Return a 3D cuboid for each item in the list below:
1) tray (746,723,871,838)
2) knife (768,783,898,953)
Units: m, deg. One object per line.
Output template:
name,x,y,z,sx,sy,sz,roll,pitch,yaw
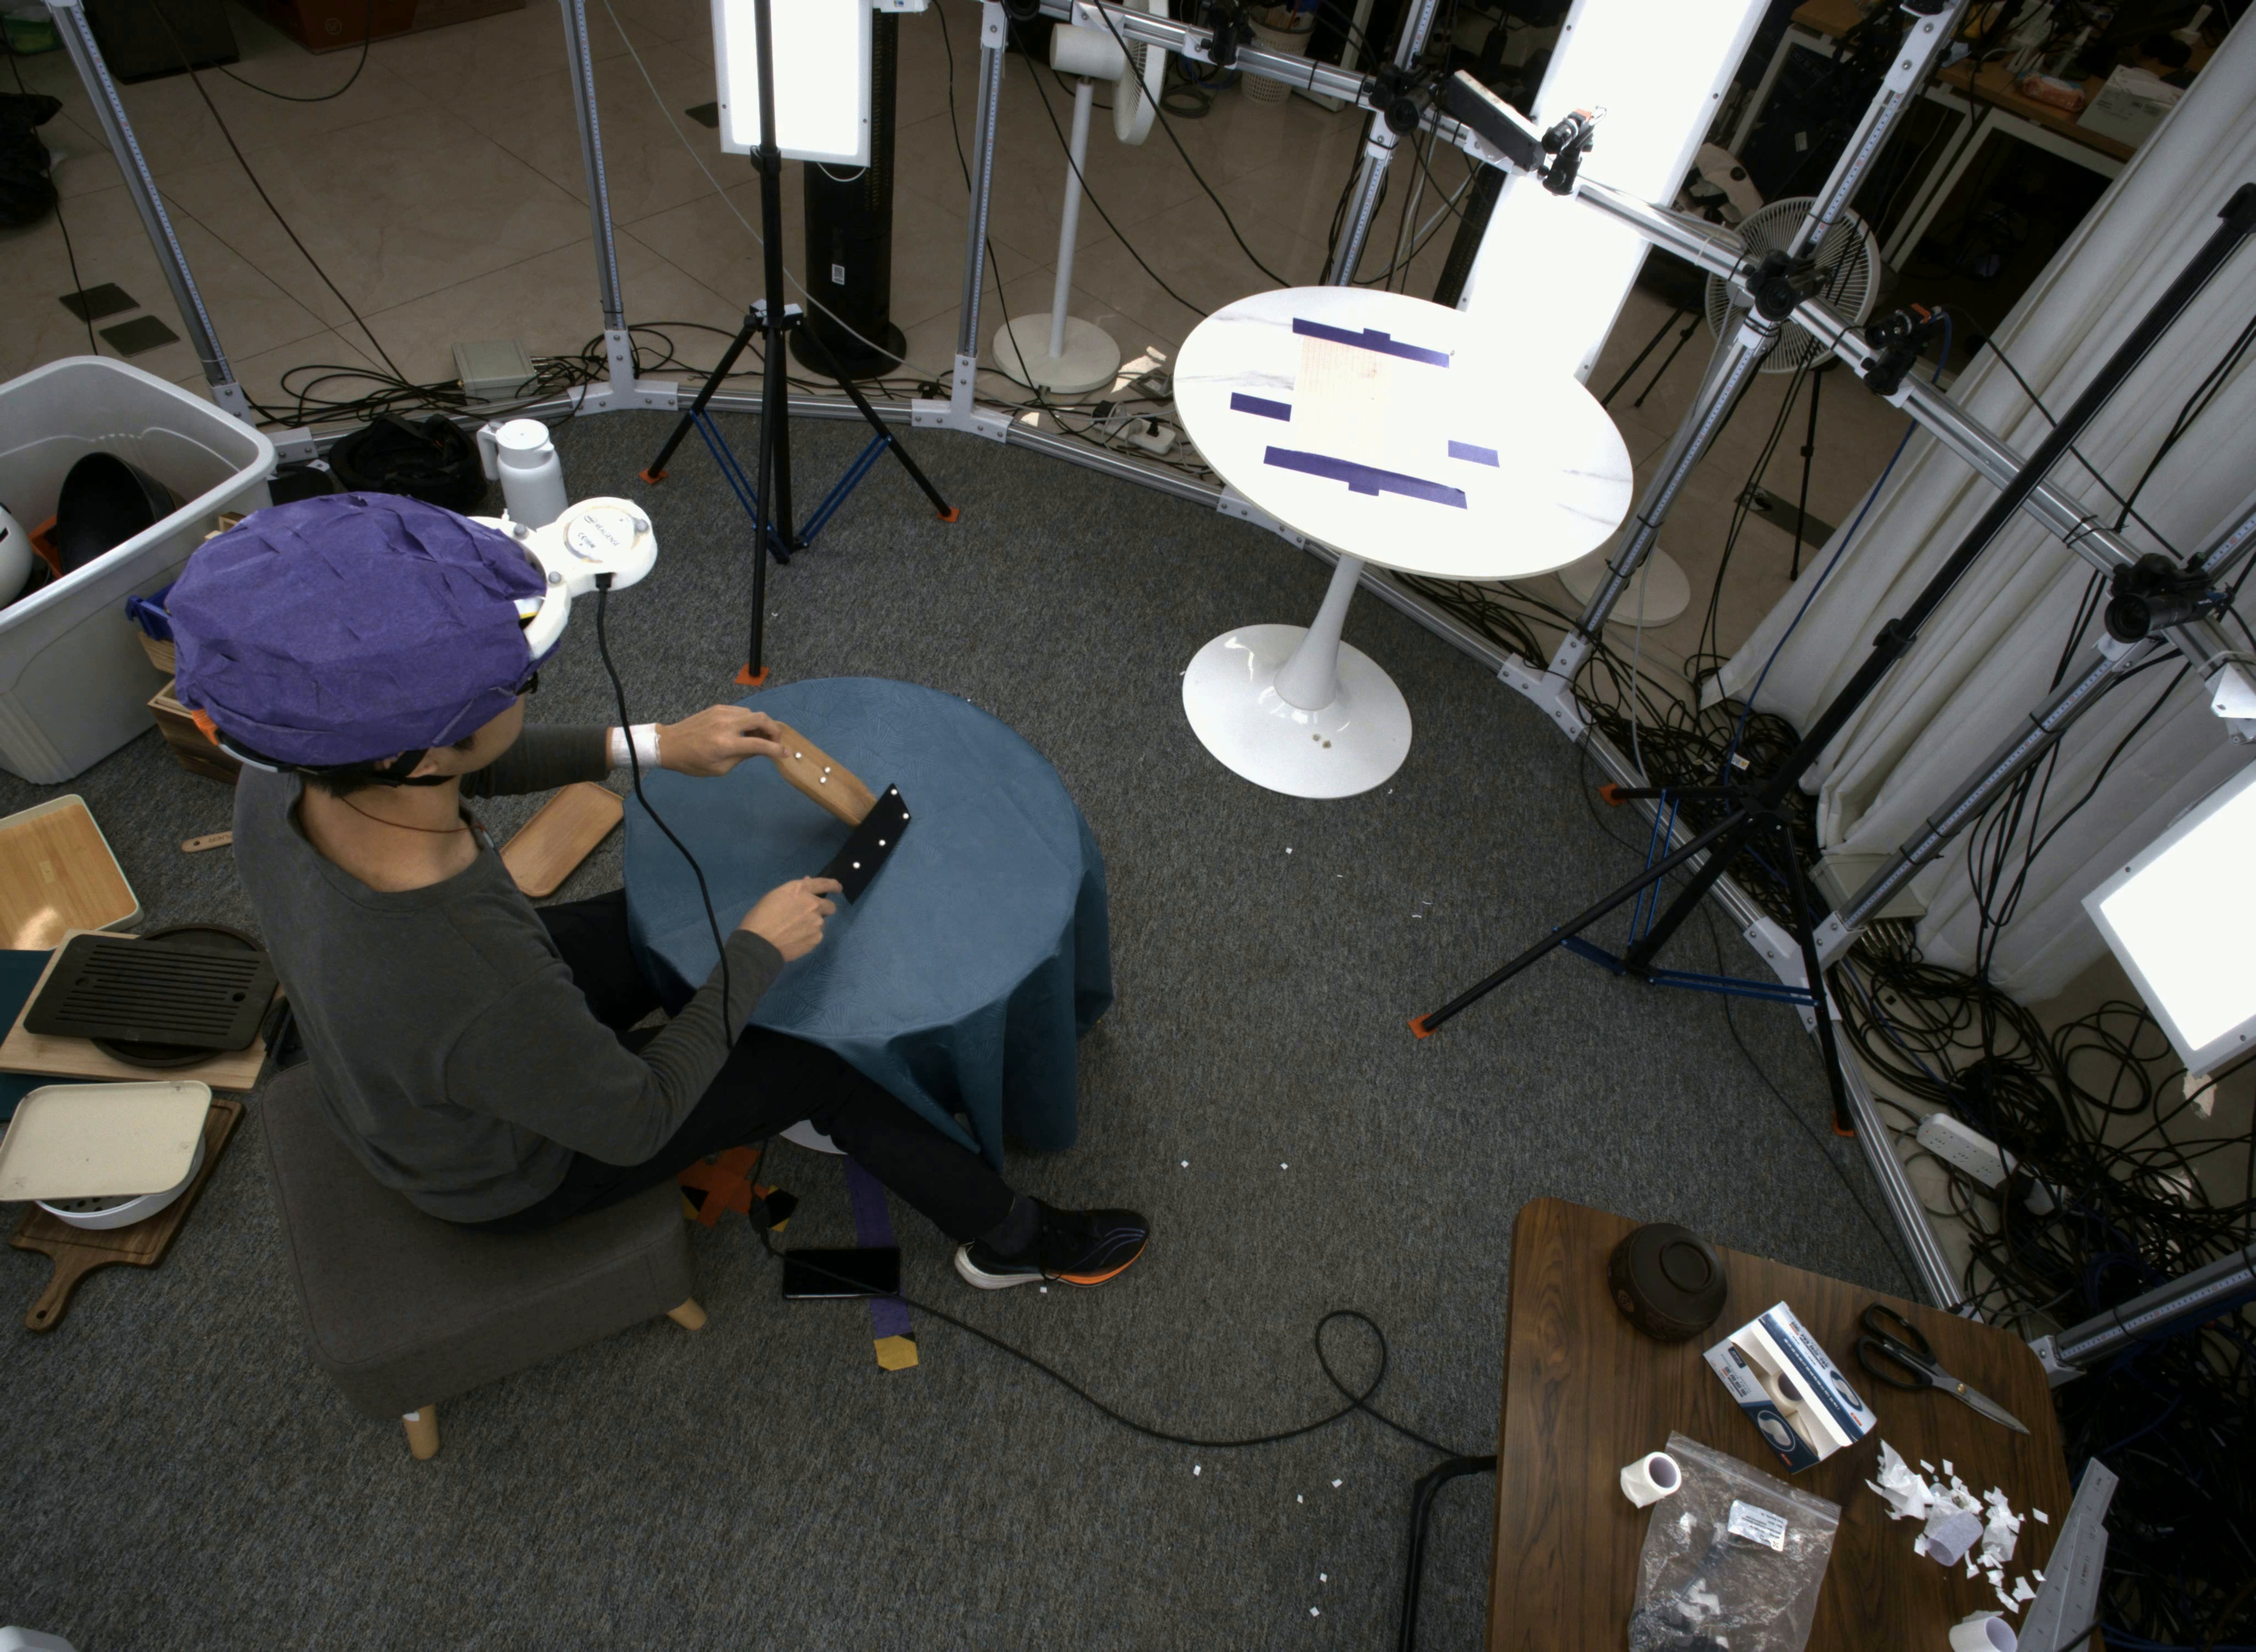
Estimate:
tray,-0.406,-0.055,1.666,0.020,0.239,0.099,-31,53,12
knife,-0.369,0.054,1.642,0.020,0.084,0.300,-7,31,27
